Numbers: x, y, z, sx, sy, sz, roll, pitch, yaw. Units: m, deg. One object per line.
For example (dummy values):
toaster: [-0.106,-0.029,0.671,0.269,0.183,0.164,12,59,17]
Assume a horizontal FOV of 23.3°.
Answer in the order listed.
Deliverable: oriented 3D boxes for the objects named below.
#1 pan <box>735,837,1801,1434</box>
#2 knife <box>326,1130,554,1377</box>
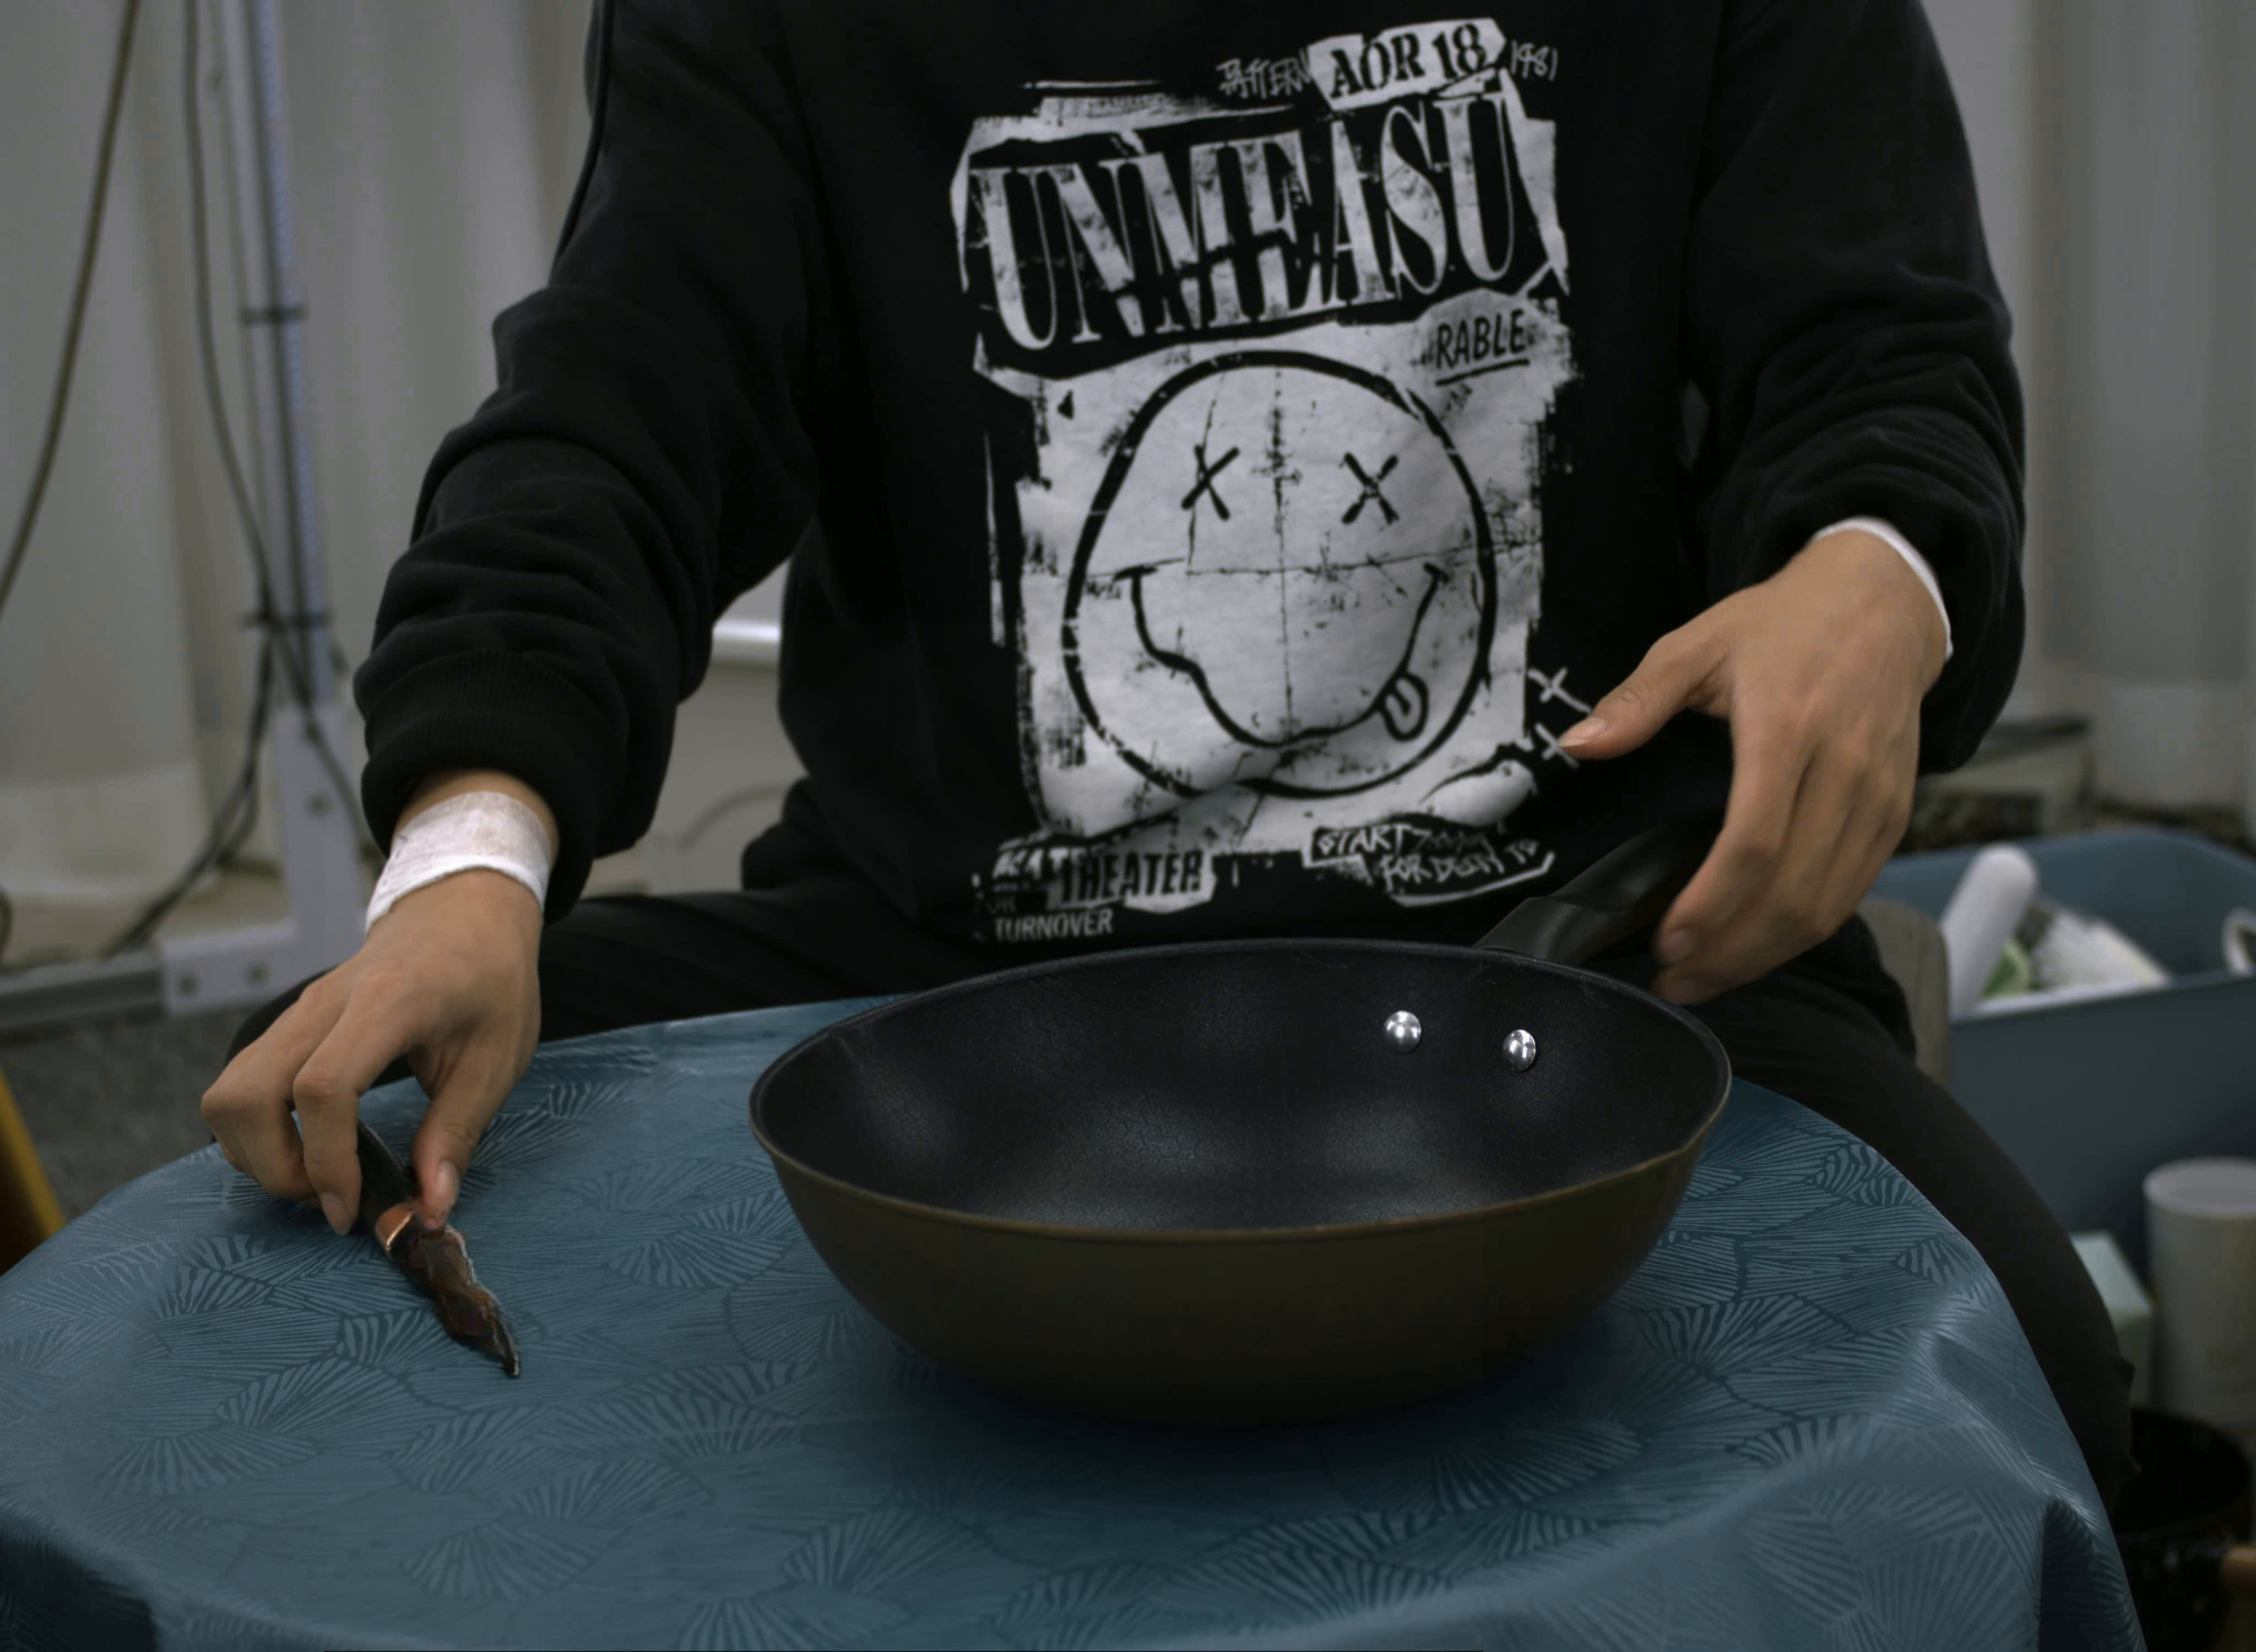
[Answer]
pan: [0.080,0.089,1.641,0.289,0.086,0.463,7,17,33]
knife: [-0.213,0.131,1.678,0.026,0.017,0.227,6,11,-22]
